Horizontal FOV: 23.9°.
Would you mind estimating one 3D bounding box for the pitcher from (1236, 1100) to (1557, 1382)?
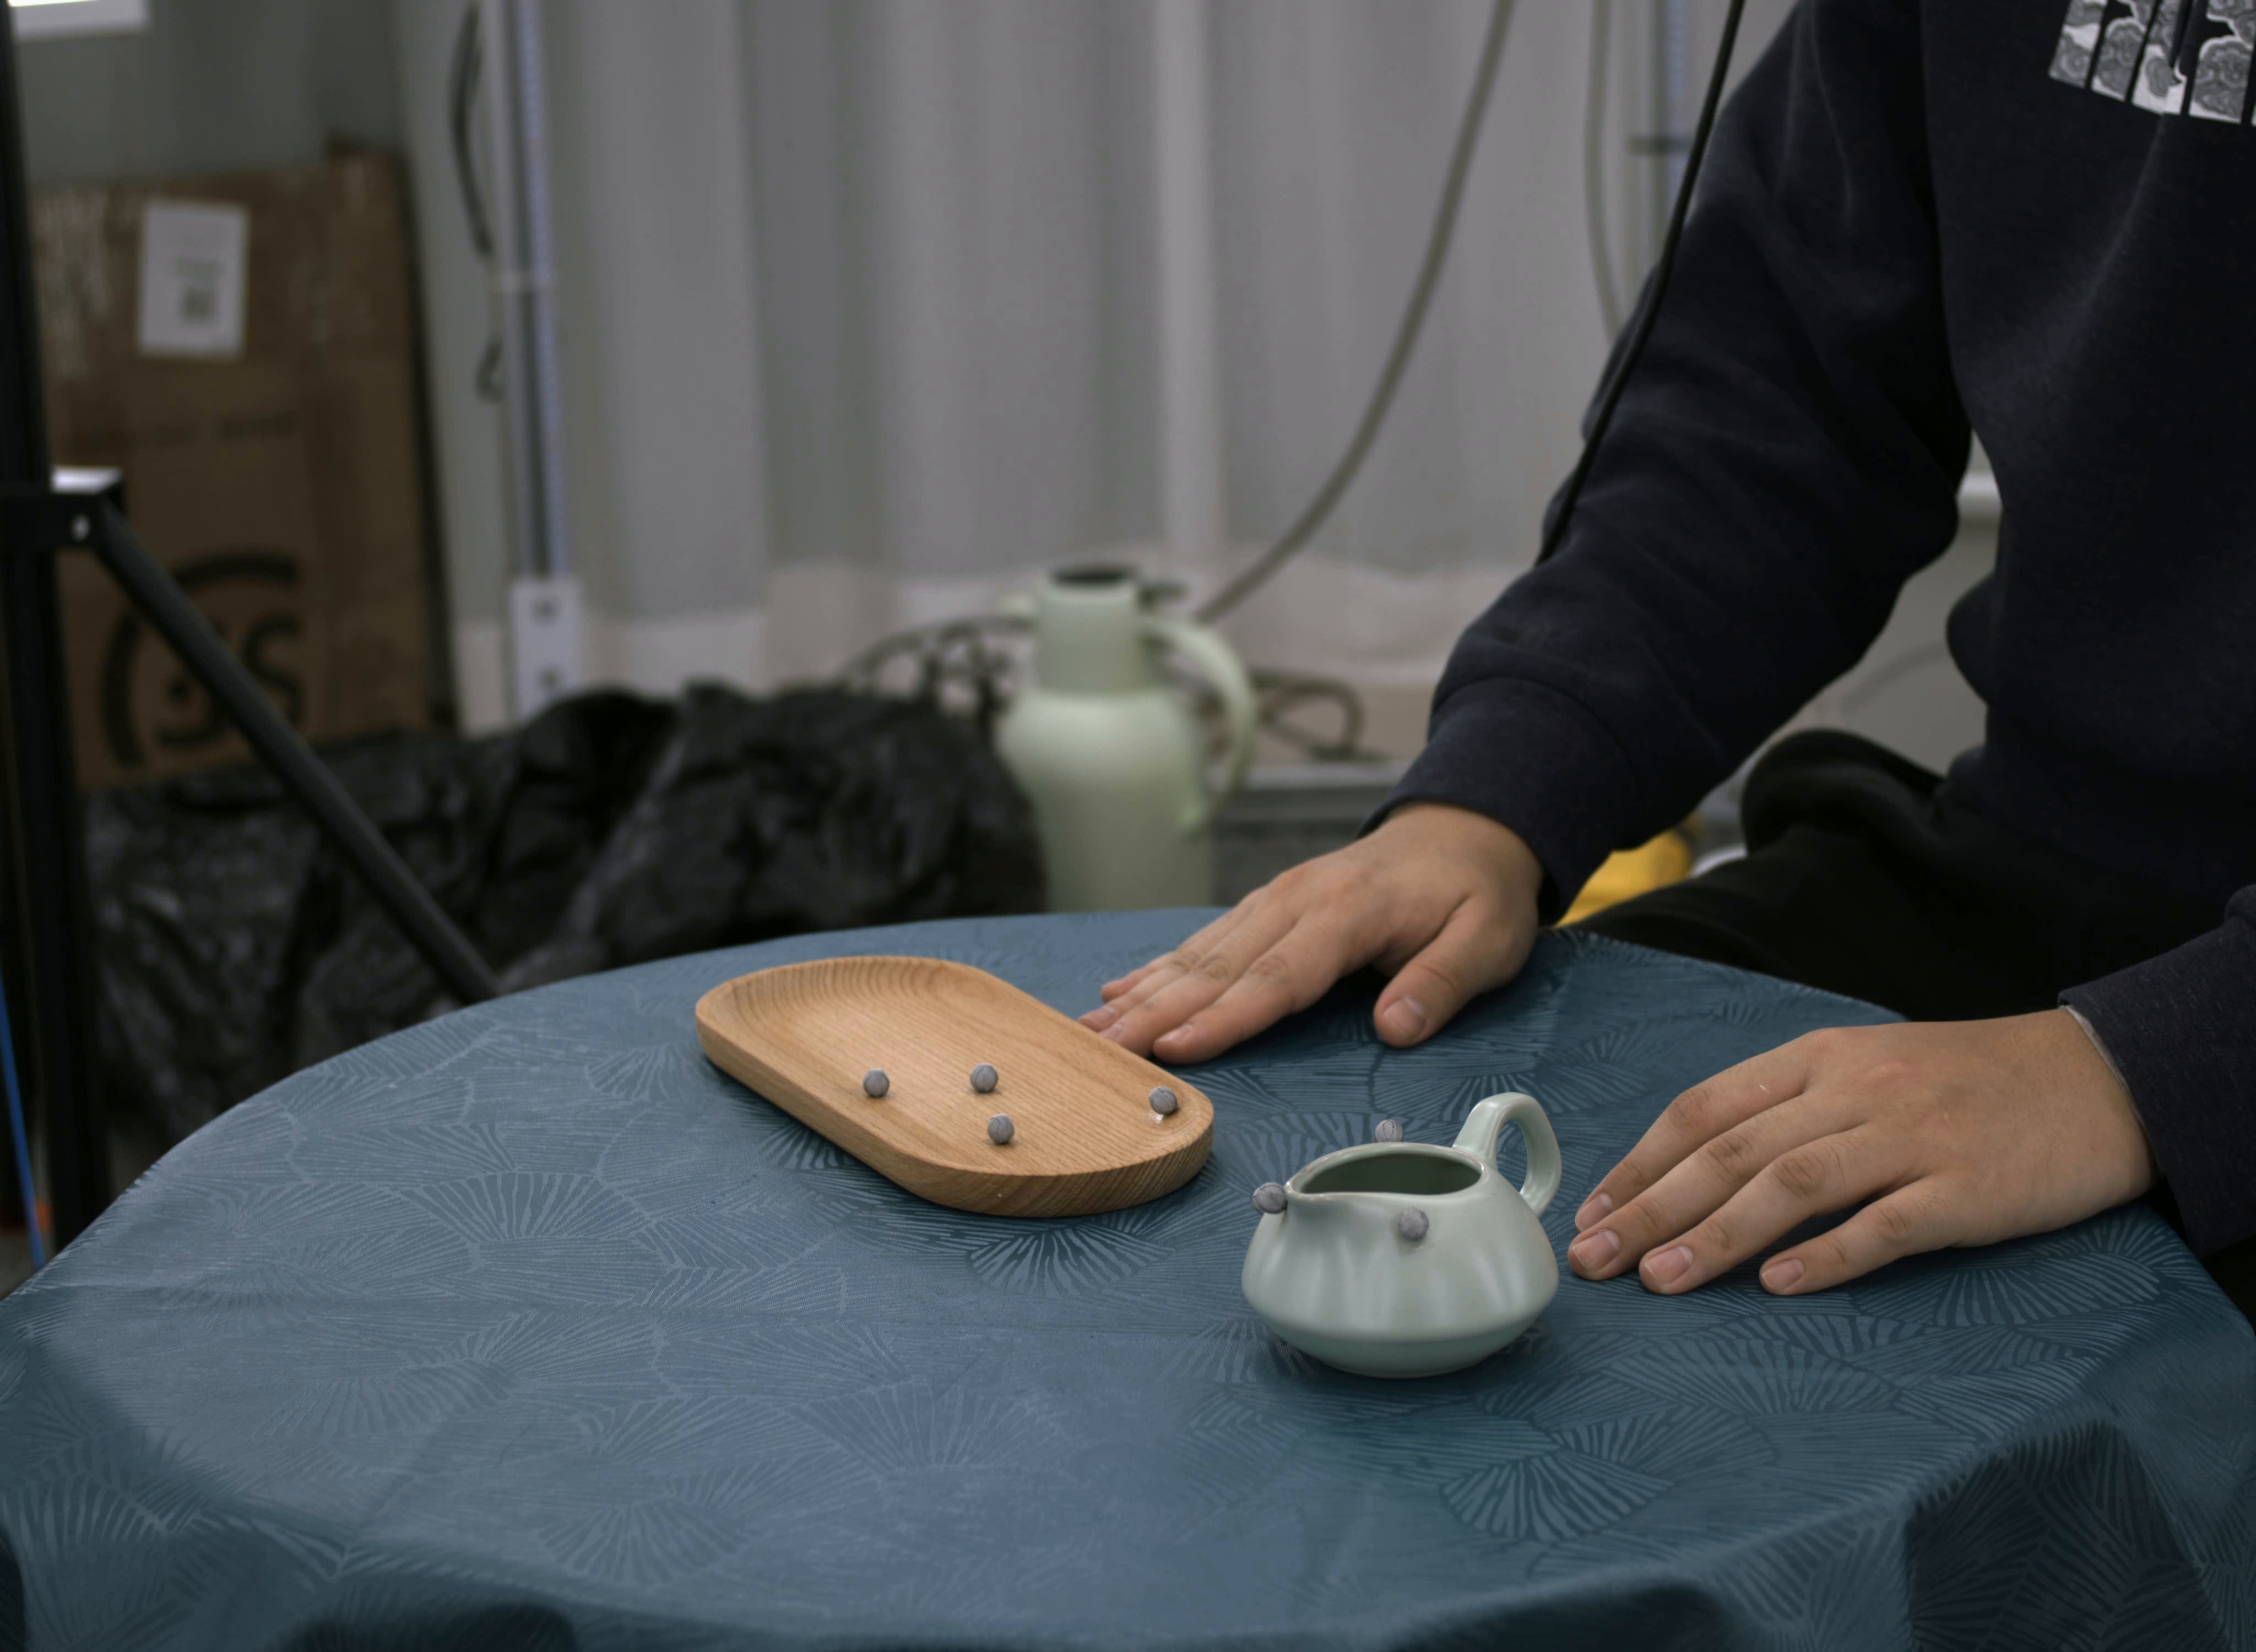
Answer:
[{"bbox_3d":[0.080,0.112,1.431,0.088,0.060,0.105,13,19,40],"label":"pitcher"}]

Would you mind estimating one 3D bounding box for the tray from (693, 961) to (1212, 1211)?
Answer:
[{"bbox_3d":[-0.056,0.078,1.641,0.099,0.020,0.236,-9,15,-27],"label":"tray"}]
